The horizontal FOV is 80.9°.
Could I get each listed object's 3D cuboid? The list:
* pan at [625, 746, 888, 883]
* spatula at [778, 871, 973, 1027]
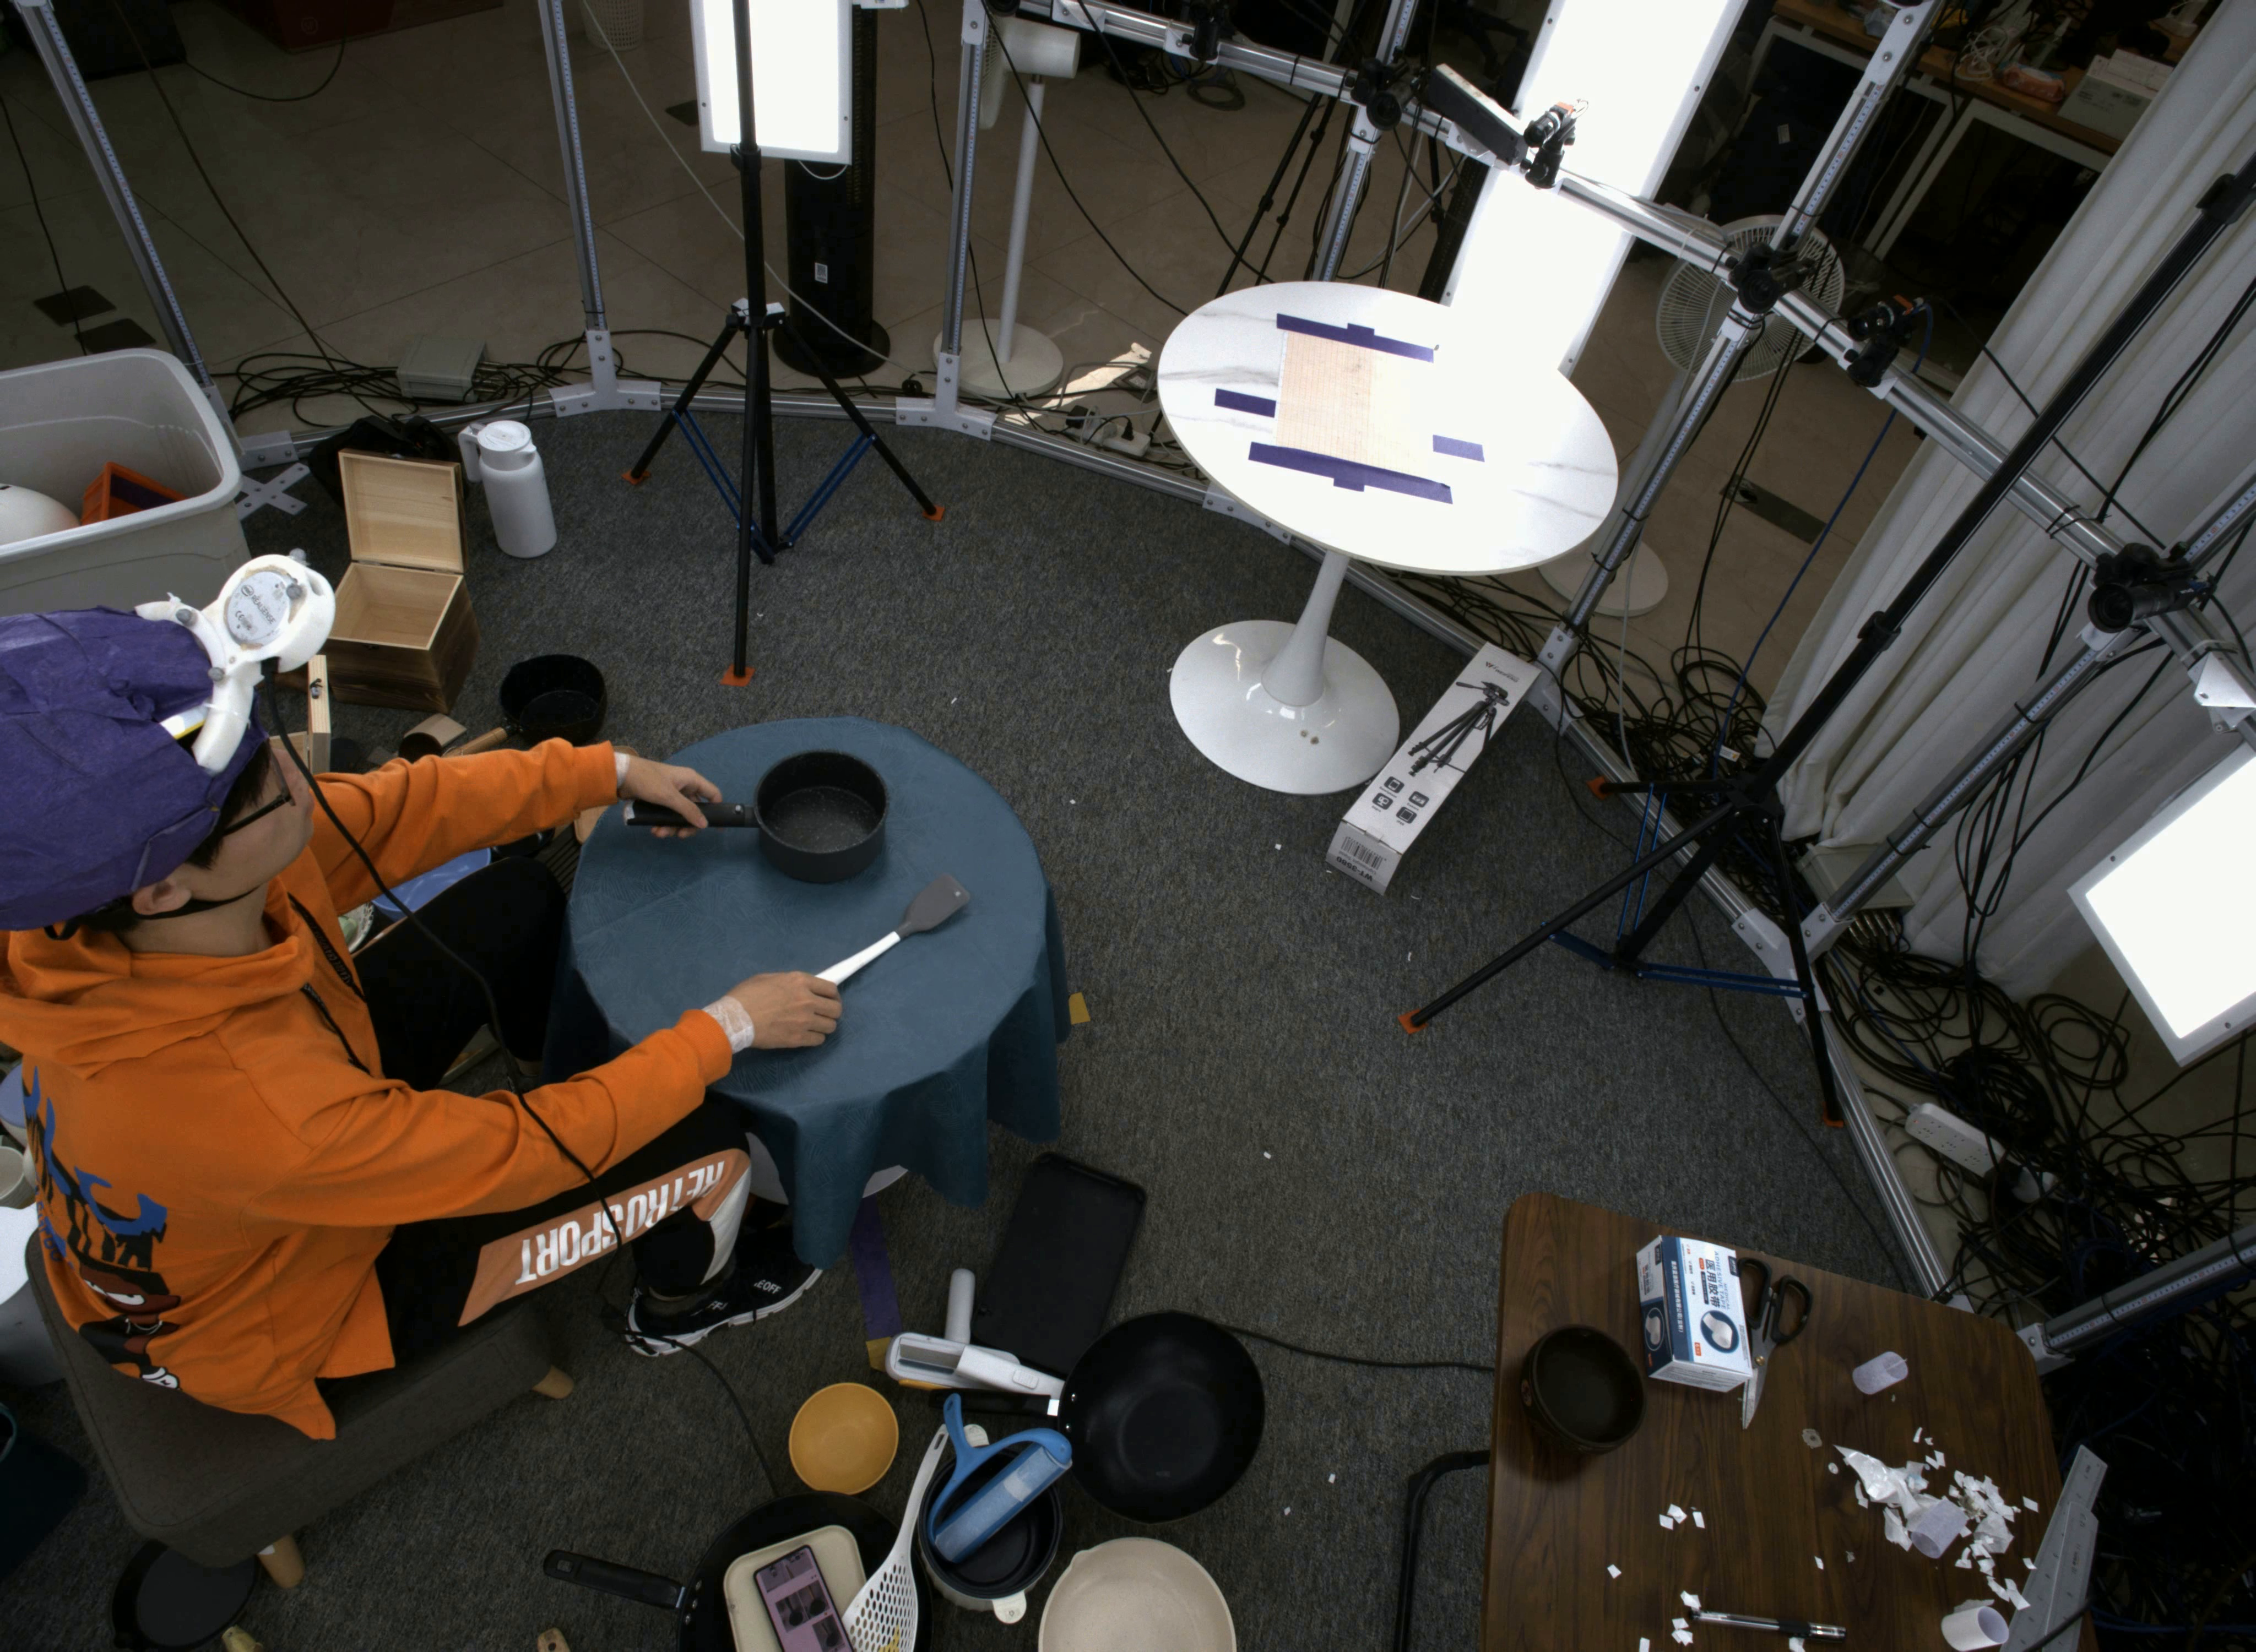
[{"bbox_3d":[-0.474,-0.012,1.654,0.330,0.088,0.168,-1,53,-18],"label":"pan"},{"bbox_3d":[-0.311,0.149,1.612,0.057,0.033,0.288,38,54,20],"label":"spatula"}]
